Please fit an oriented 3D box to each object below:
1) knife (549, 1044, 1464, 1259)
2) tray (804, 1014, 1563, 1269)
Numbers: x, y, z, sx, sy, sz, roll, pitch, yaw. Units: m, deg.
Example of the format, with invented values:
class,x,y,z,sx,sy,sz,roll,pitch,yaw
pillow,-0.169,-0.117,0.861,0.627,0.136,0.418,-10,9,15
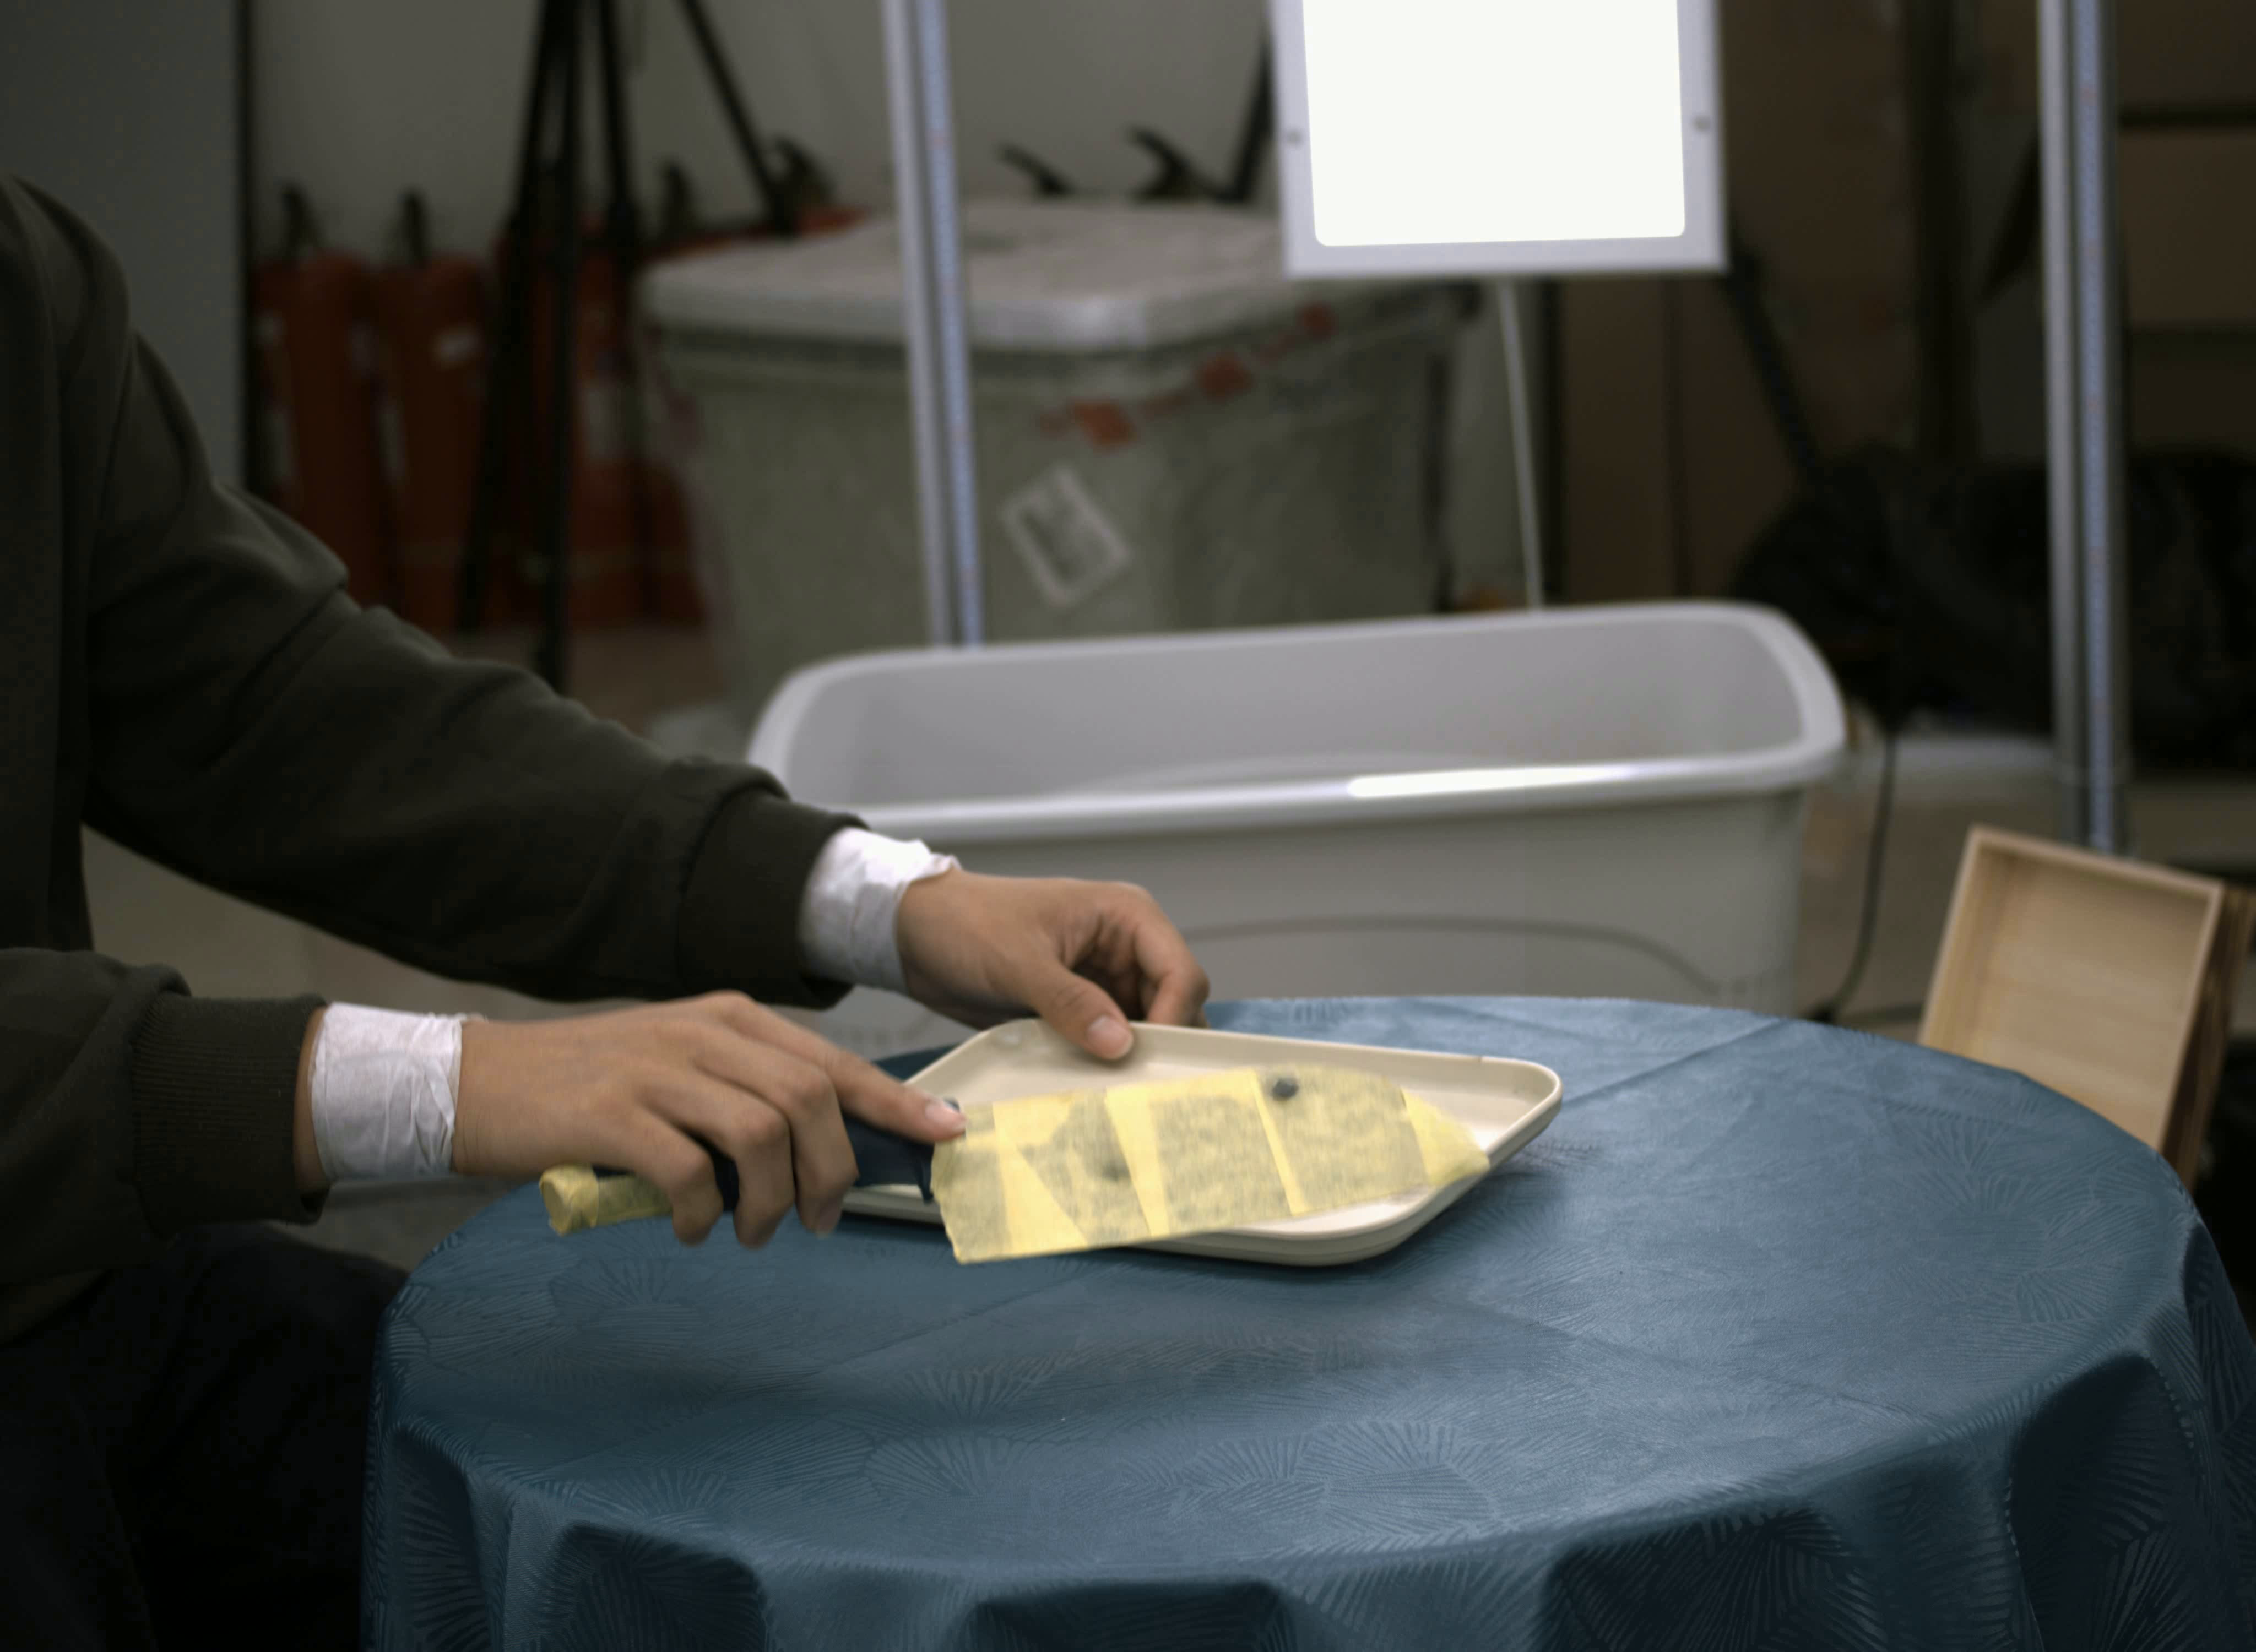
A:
class,x,y,z,sx,sy,sz,roll,pitch,yaw
knife,-0.036,0.107,1.721,0.288,0.027,0.081,-8,37,-3
tray,0.019,0.109,1.910,0.244,0.017,0.167,4,21,32
